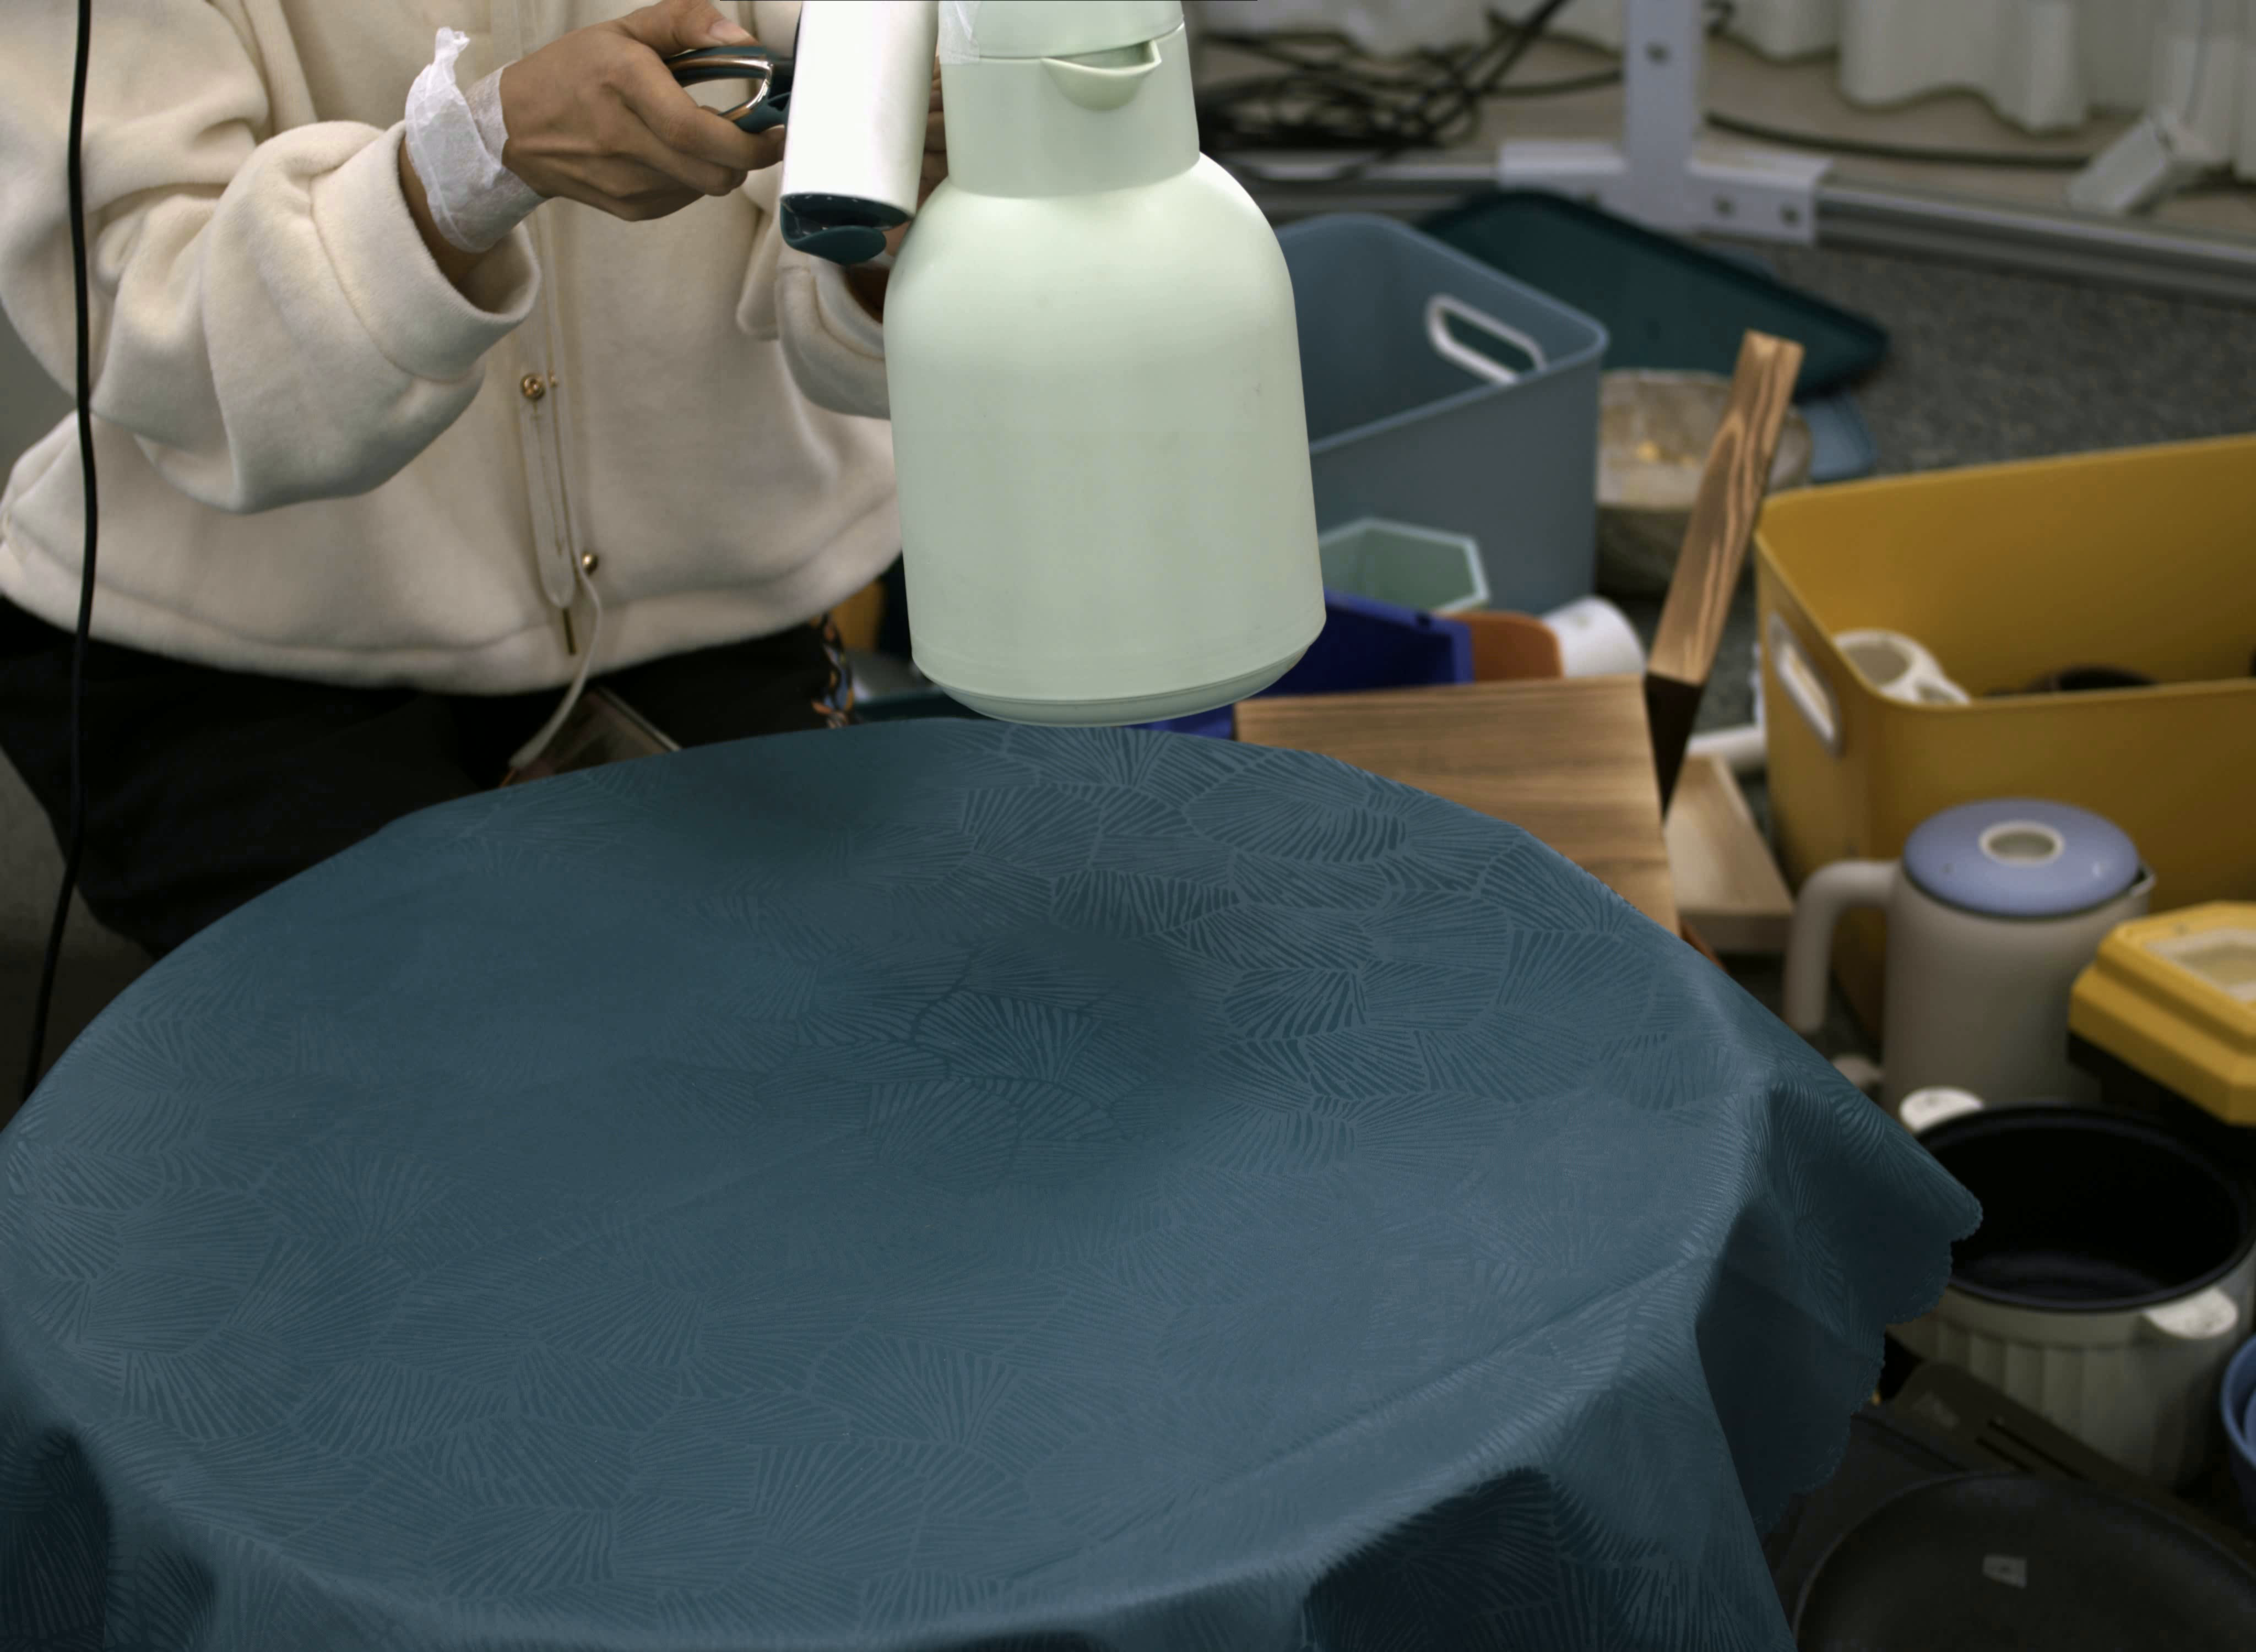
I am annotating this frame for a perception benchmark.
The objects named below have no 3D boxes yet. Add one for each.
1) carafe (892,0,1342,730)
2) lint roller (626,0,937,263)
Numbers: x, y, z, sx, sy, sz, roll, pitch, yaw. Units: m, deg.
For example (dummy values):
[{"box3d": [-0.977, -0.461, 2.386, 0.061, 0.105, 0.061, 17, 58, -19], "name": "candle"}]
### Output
[{"box3d": [-0.015, -0.175, 1.937, 0.144, 0.255, 0.187, -13, 16, -16], "name": "carafe"}, {"box3d": [-0.135, -0.259, 1.968, 0.048, 0.135, 0.178, 15, -10, -42], "name": "lint roller"}]
